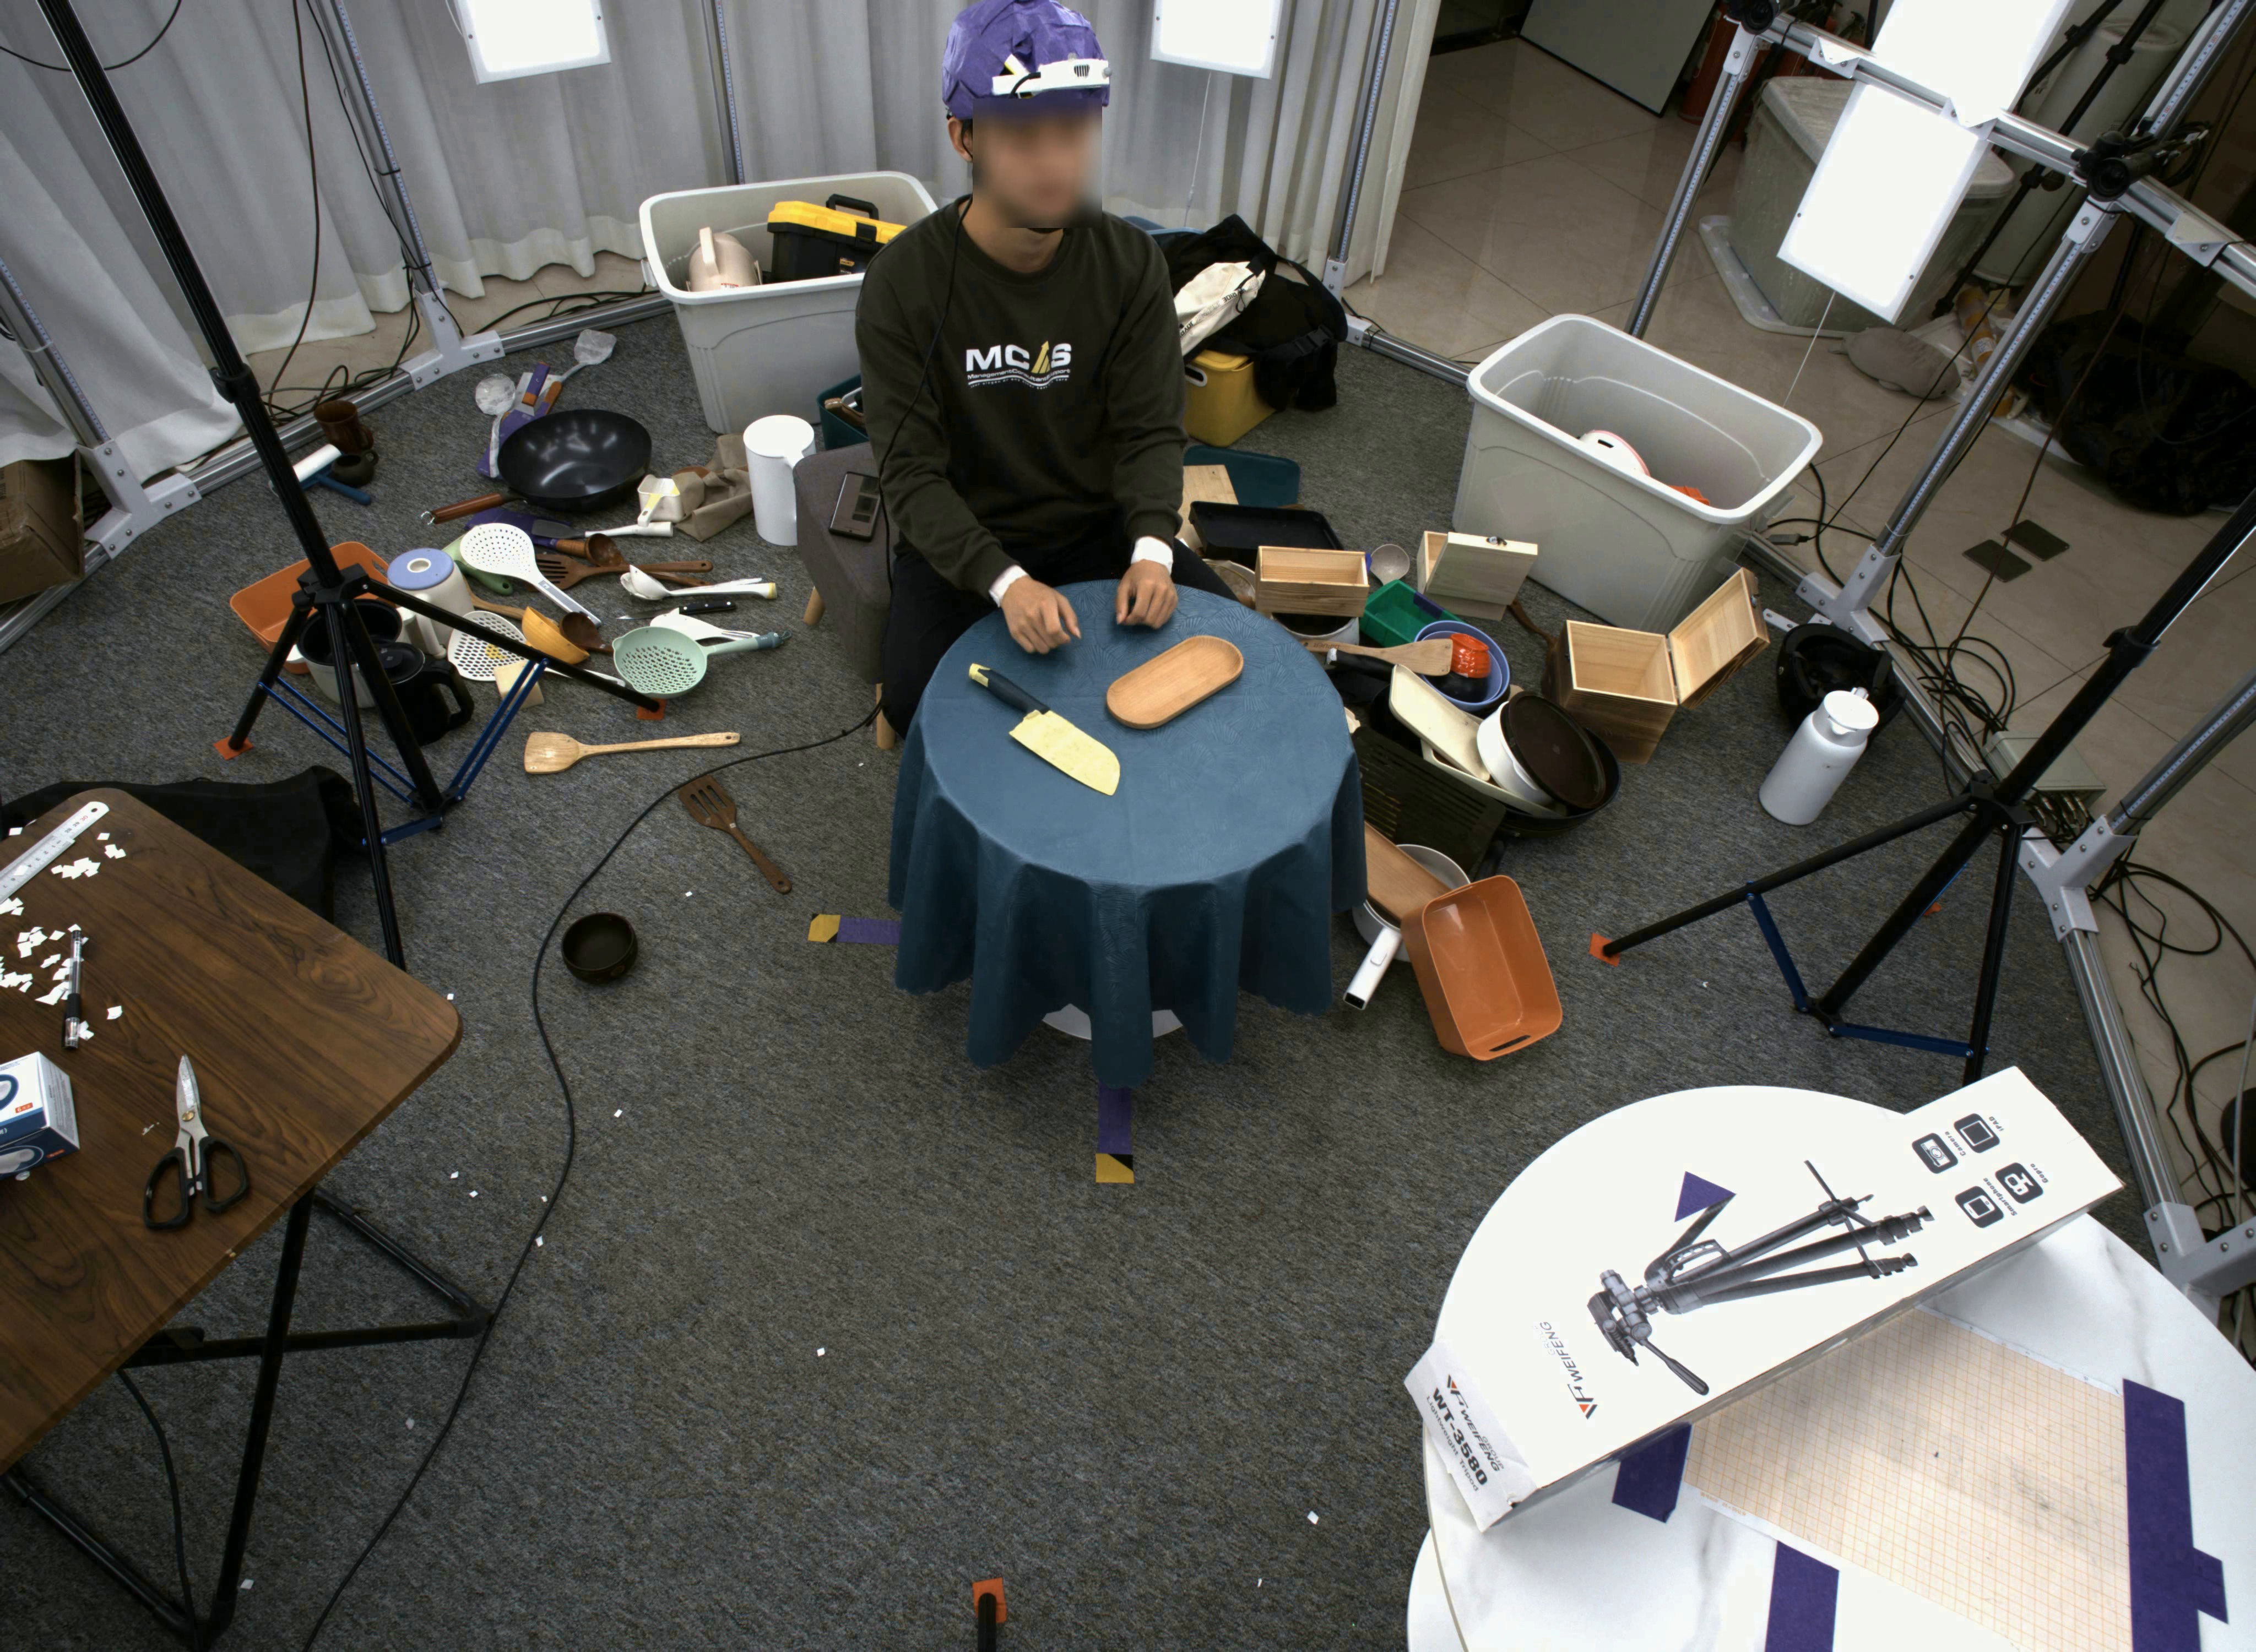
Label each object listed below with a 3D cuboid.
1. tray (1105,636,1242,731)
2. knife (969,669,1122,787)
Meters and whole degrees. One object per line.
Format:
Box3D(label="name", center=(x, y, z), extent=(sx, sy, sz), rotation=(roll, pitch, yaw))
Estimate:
Box3D(label="tray", center=(0.067, -0.206, 1.840), extent=(0.233, 0.020, 0.103), rotation=(-34, 58, -27))
Box3D(label="knife", center=(-0.121, -0.134, 1.766), extent=(0.293, 0.026, 0.082), rotation=(36, 55, 23))
